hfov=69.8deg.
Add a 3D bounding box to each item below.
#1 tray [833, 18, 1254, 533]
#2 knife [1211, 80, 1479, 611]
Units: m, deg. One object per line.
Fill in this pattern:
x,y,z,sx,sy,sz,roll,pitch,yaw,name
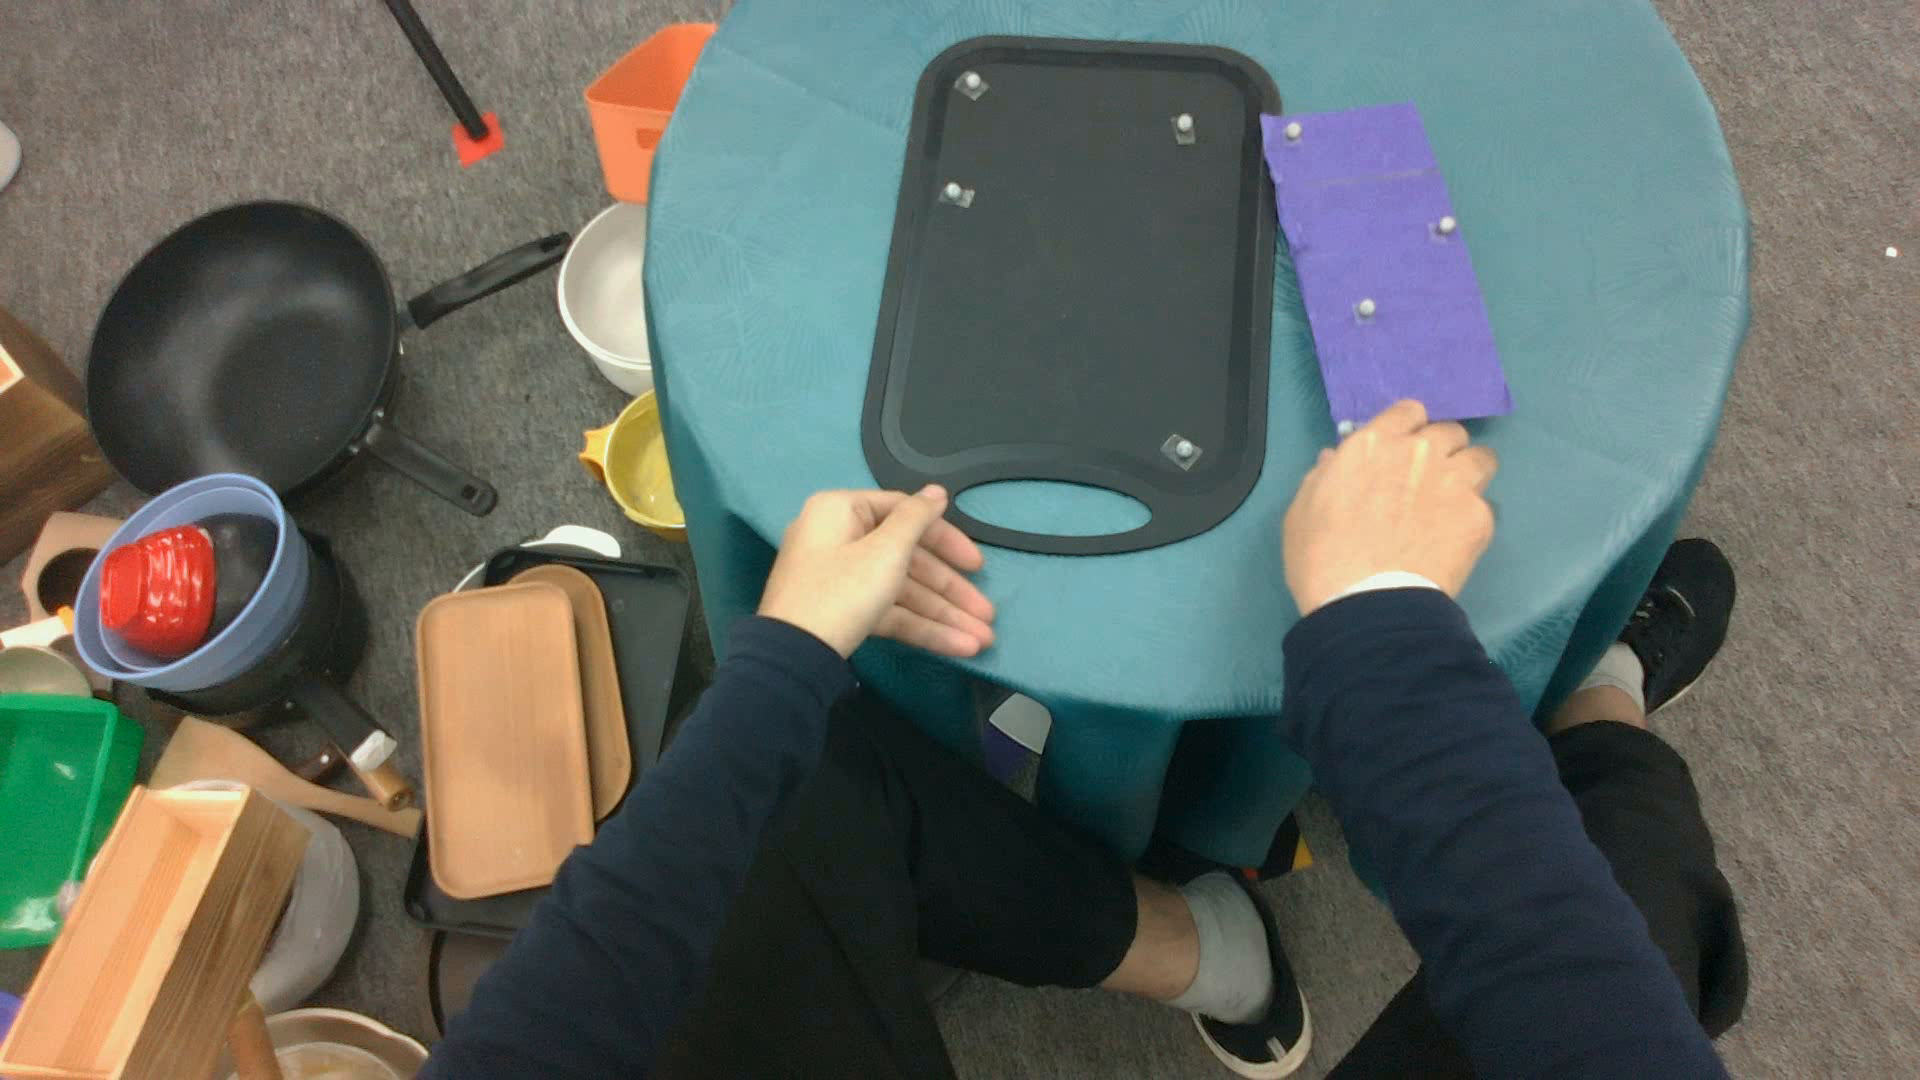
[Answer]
0.050,-0.154,0.745,0.211,0.010,0.326,5,67,5,tray
0.211,-0.117,0.707,0.104,0.032,0.316,-7,65,-2,knife
